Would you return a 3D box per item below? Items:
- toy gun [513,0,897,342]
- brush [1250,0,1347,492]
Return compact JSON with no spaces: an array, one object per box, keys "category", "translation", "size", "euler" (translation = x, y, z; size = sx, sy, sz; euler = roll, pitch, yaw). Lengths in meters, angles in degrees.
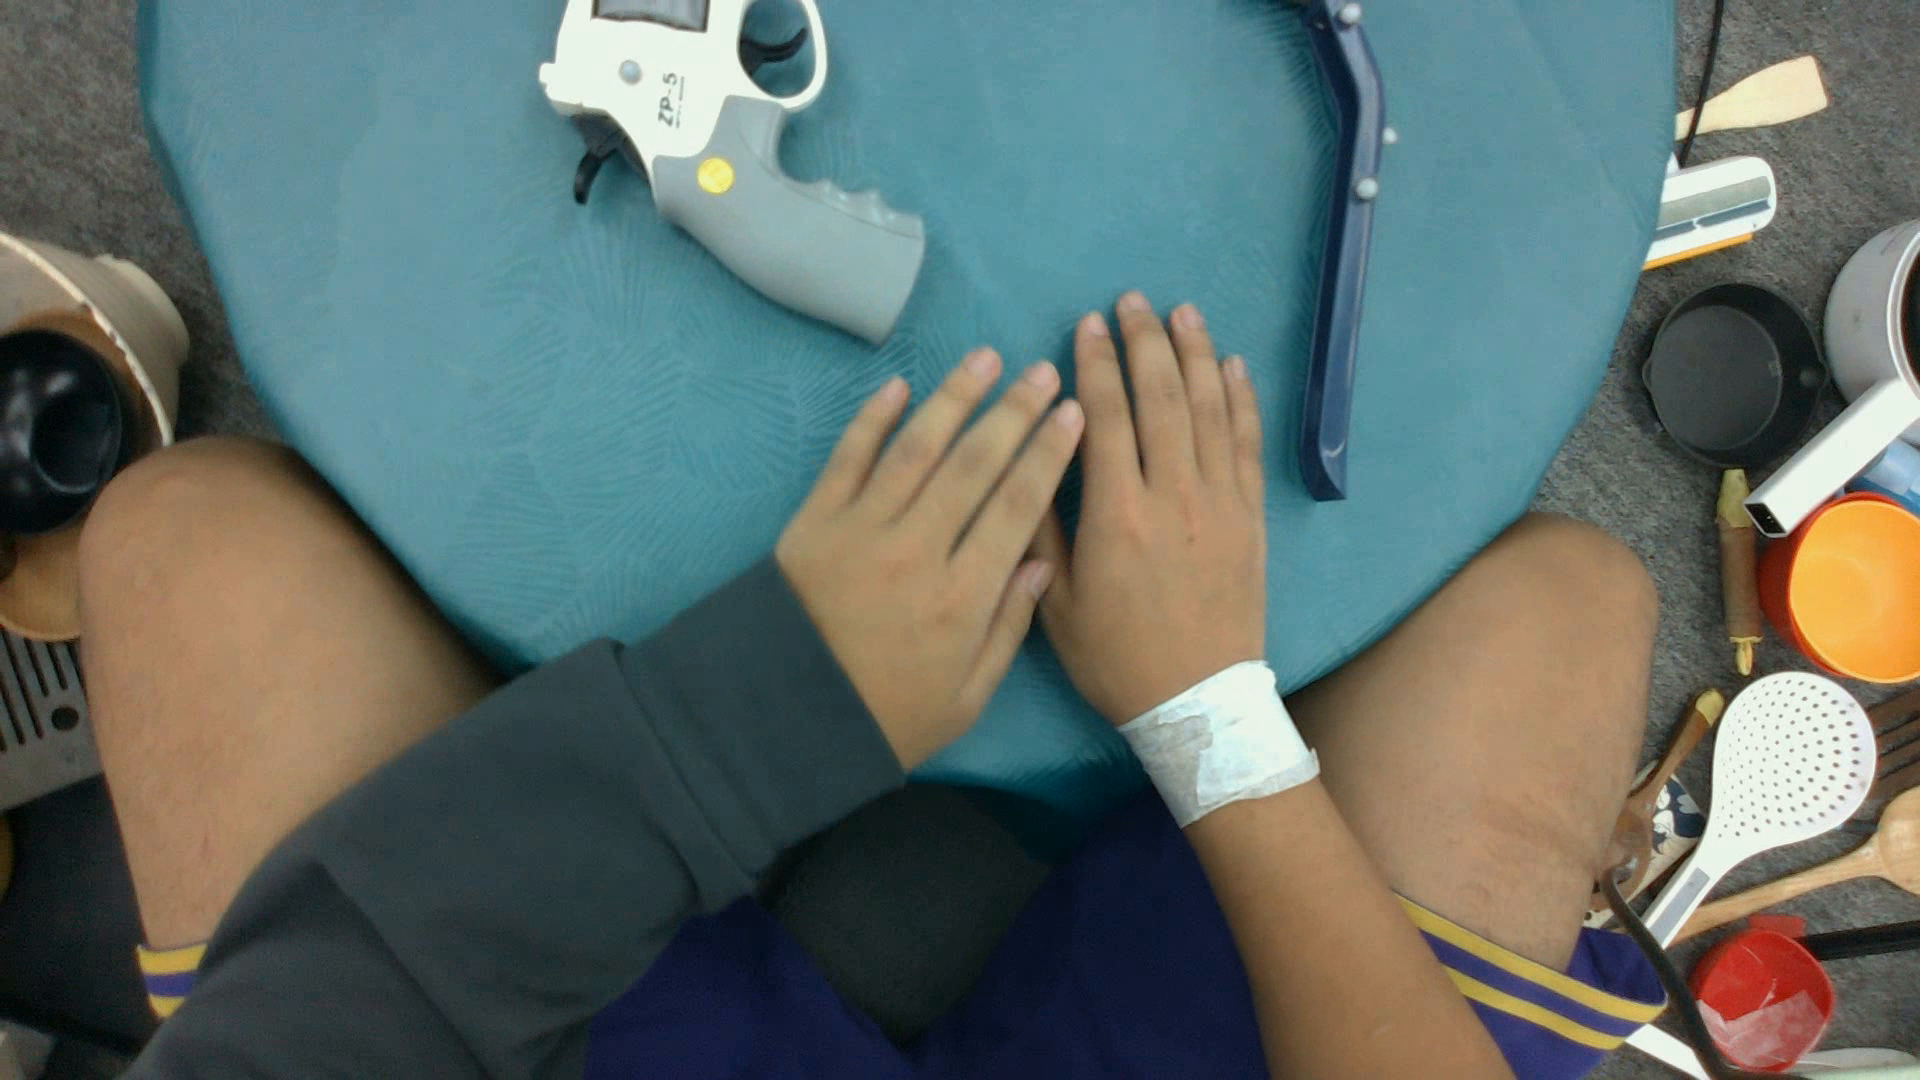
[{"category":"toy gun","translation":[-0.091,-0.183,0.516],"size":[0.142,0.039,0.209],"euler":[3,90,-9]},{"category":"brush","translation":[0.150,-0.157,0.552],"size":[0.096,0.033,0.273],"euler":[-3,89,-7]}]
